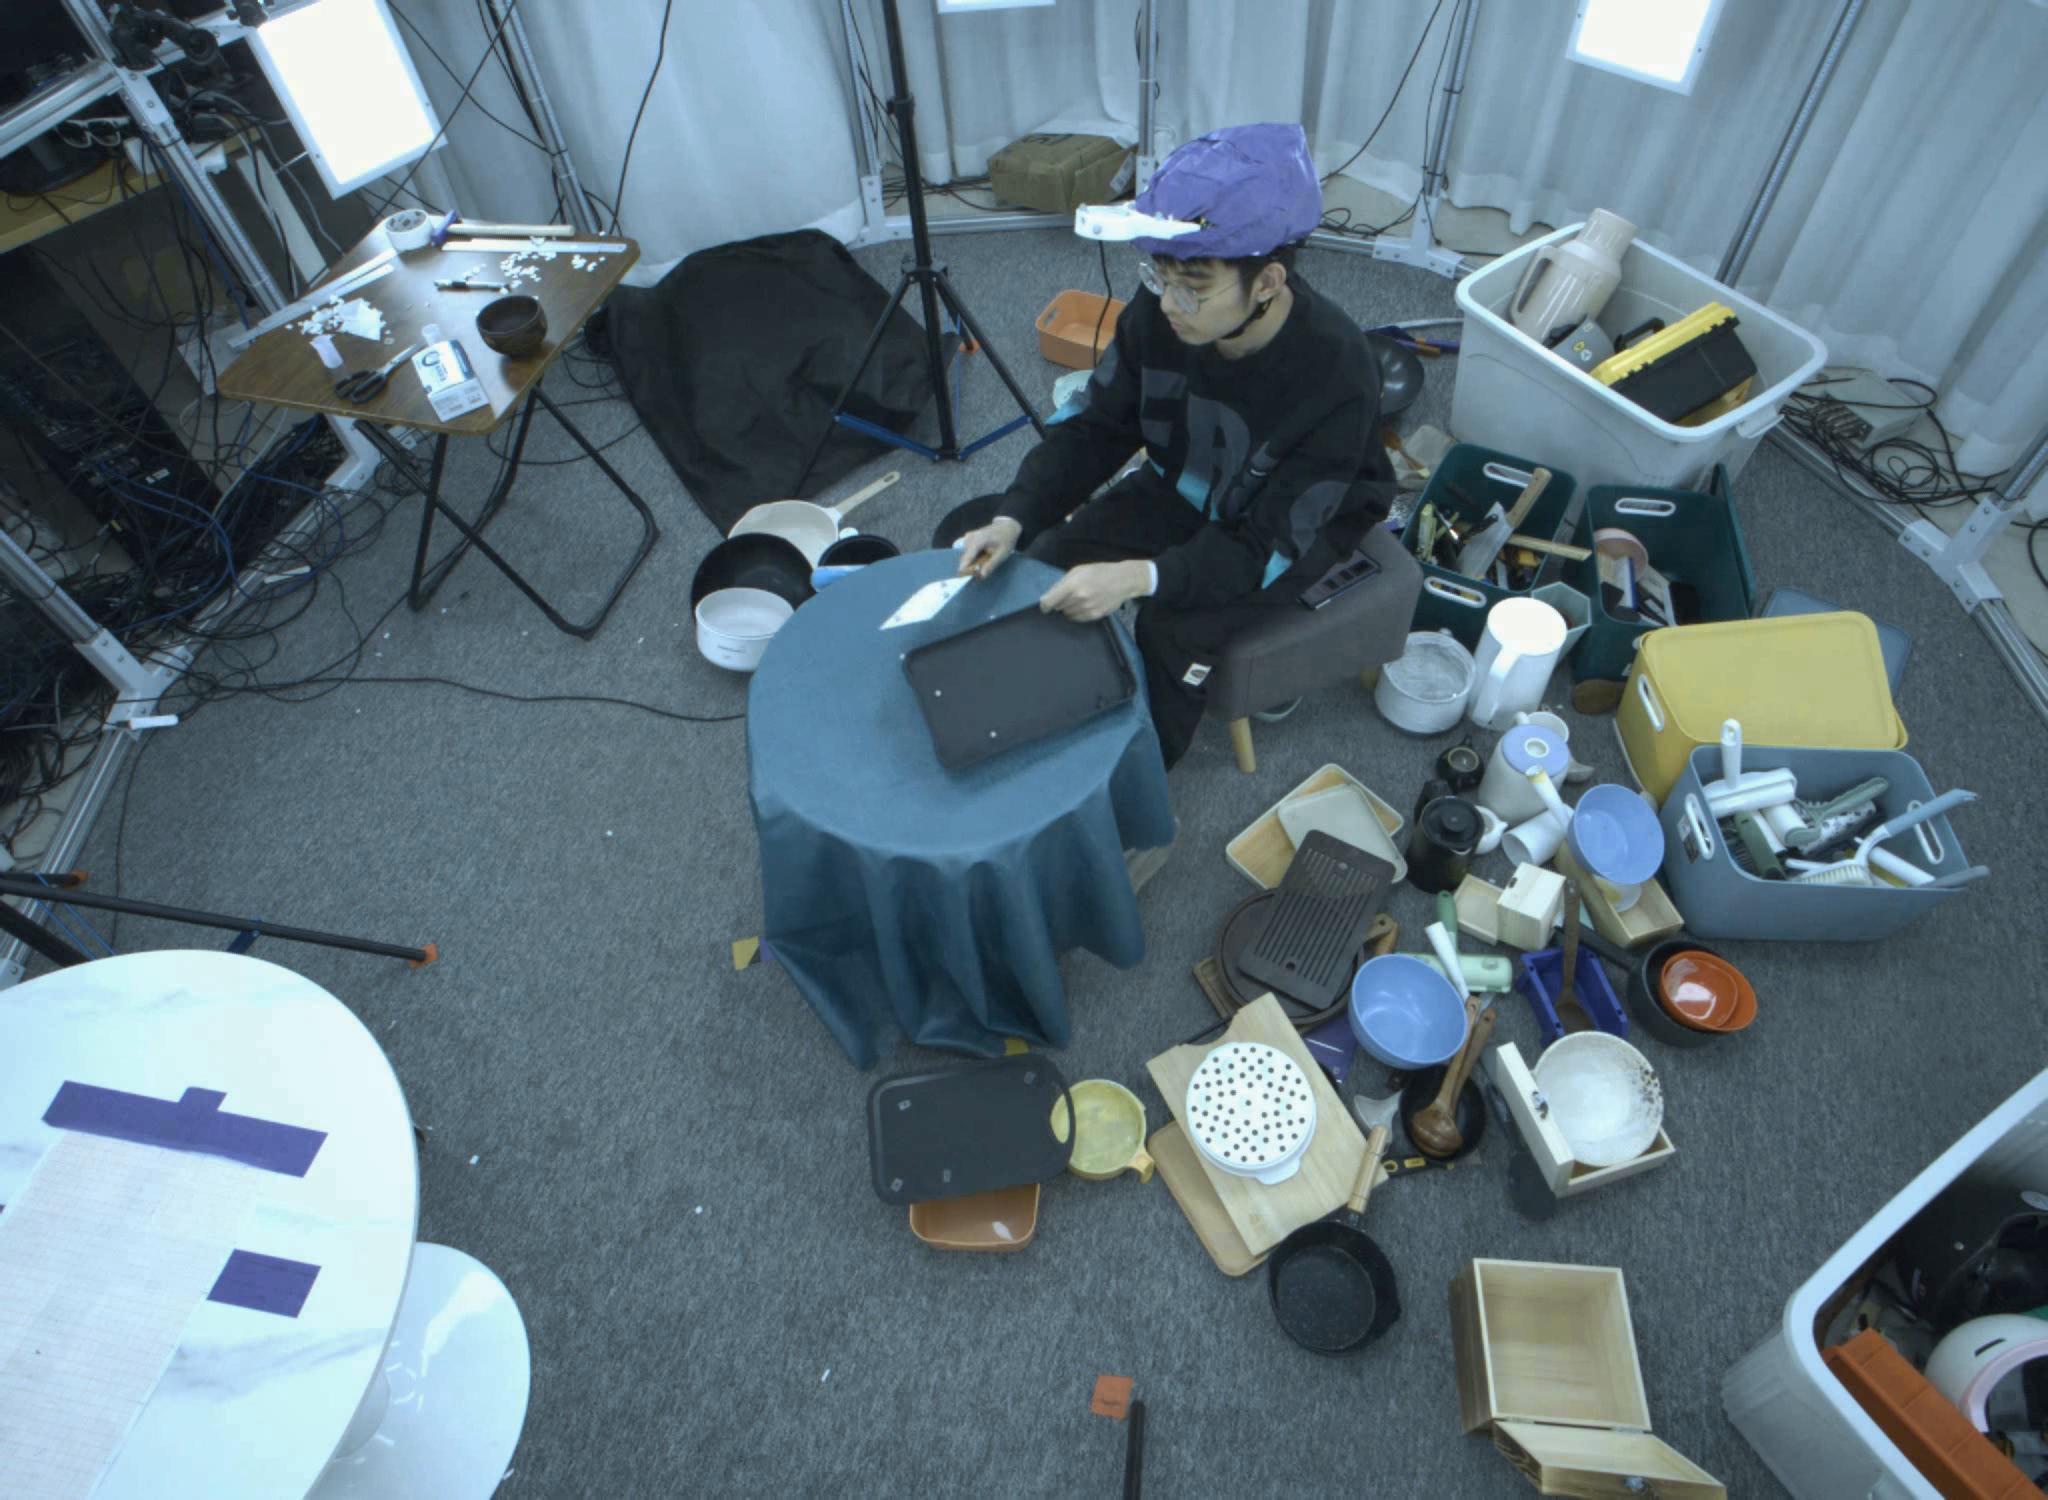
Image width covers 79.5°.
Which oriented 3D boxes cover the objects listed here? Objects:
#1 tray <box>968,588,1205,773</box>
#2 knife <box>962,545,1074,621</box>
[{"bbox_3d":[0.091,-0.101,1.764,0.321,0.036,0.184,-21,93,-16],"label":"tray"},{"bbox_3d":[-0.010,-0.254,1.867,0.091,0.021,0.307,-6,23,26],"label":"knife"}]
